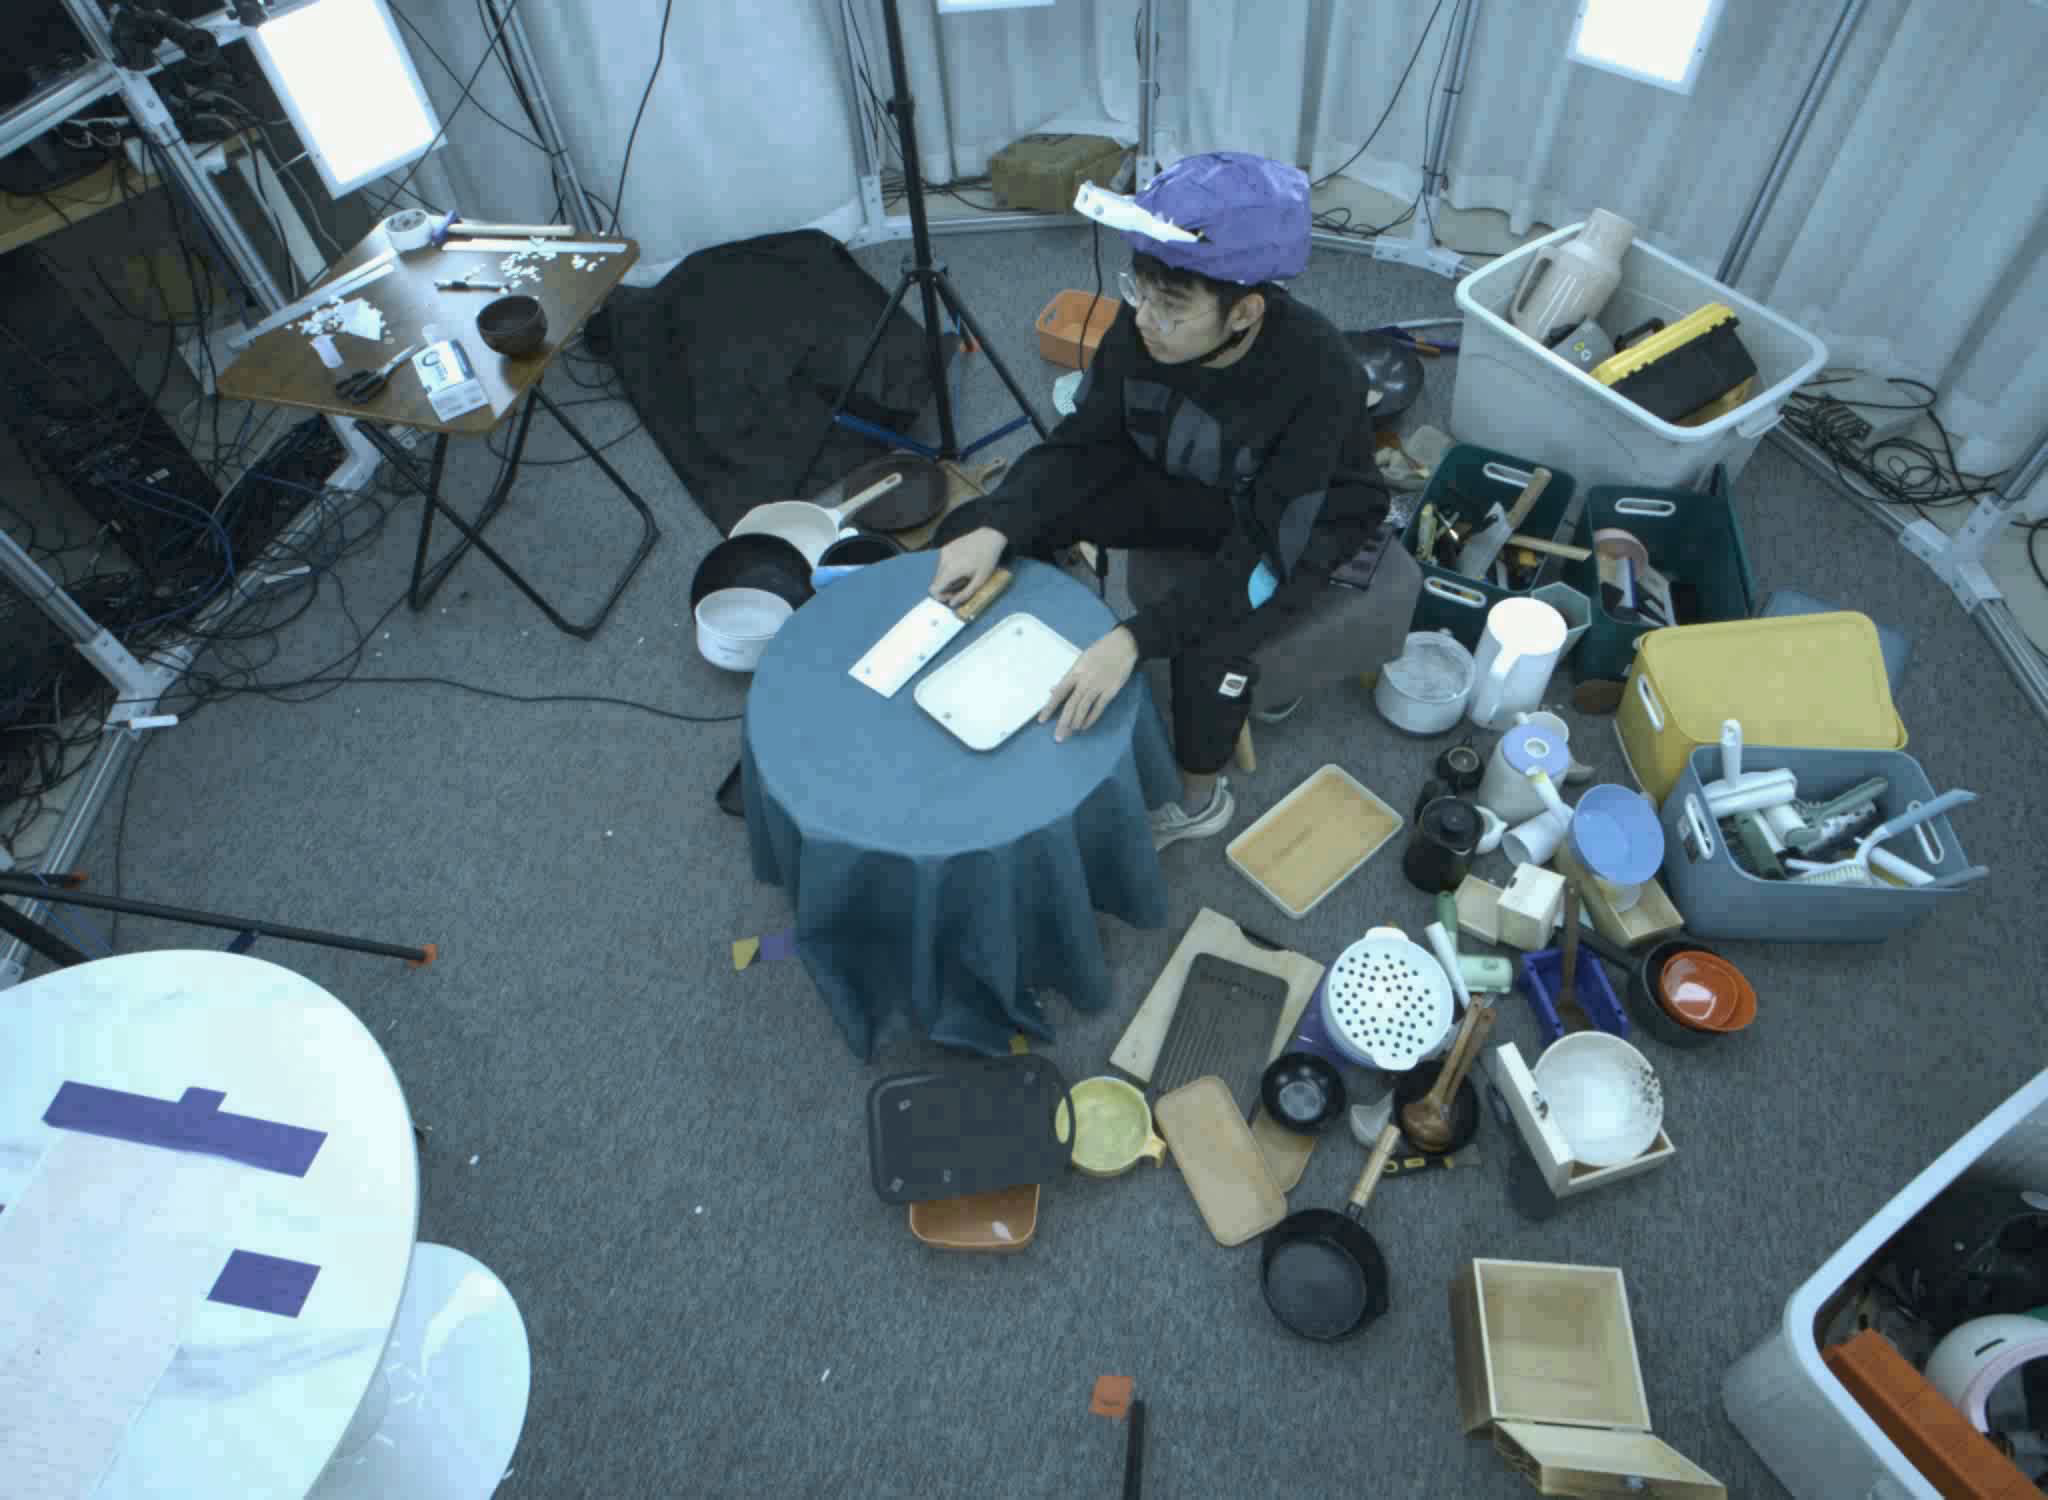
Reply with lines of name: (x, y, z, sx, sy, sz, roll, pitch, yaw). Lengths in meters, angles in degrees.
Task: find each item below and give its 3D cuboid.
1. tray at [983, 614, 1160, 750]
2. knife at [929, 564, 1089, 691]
tray: (0.072, -0.103, 1.846, 0.241, 0.018, 0.168, -35, 60, -21)
knife: (-0.027, -0.205, 1.924, 0.091, 0.021, 0.307, 36, 66, 26)
